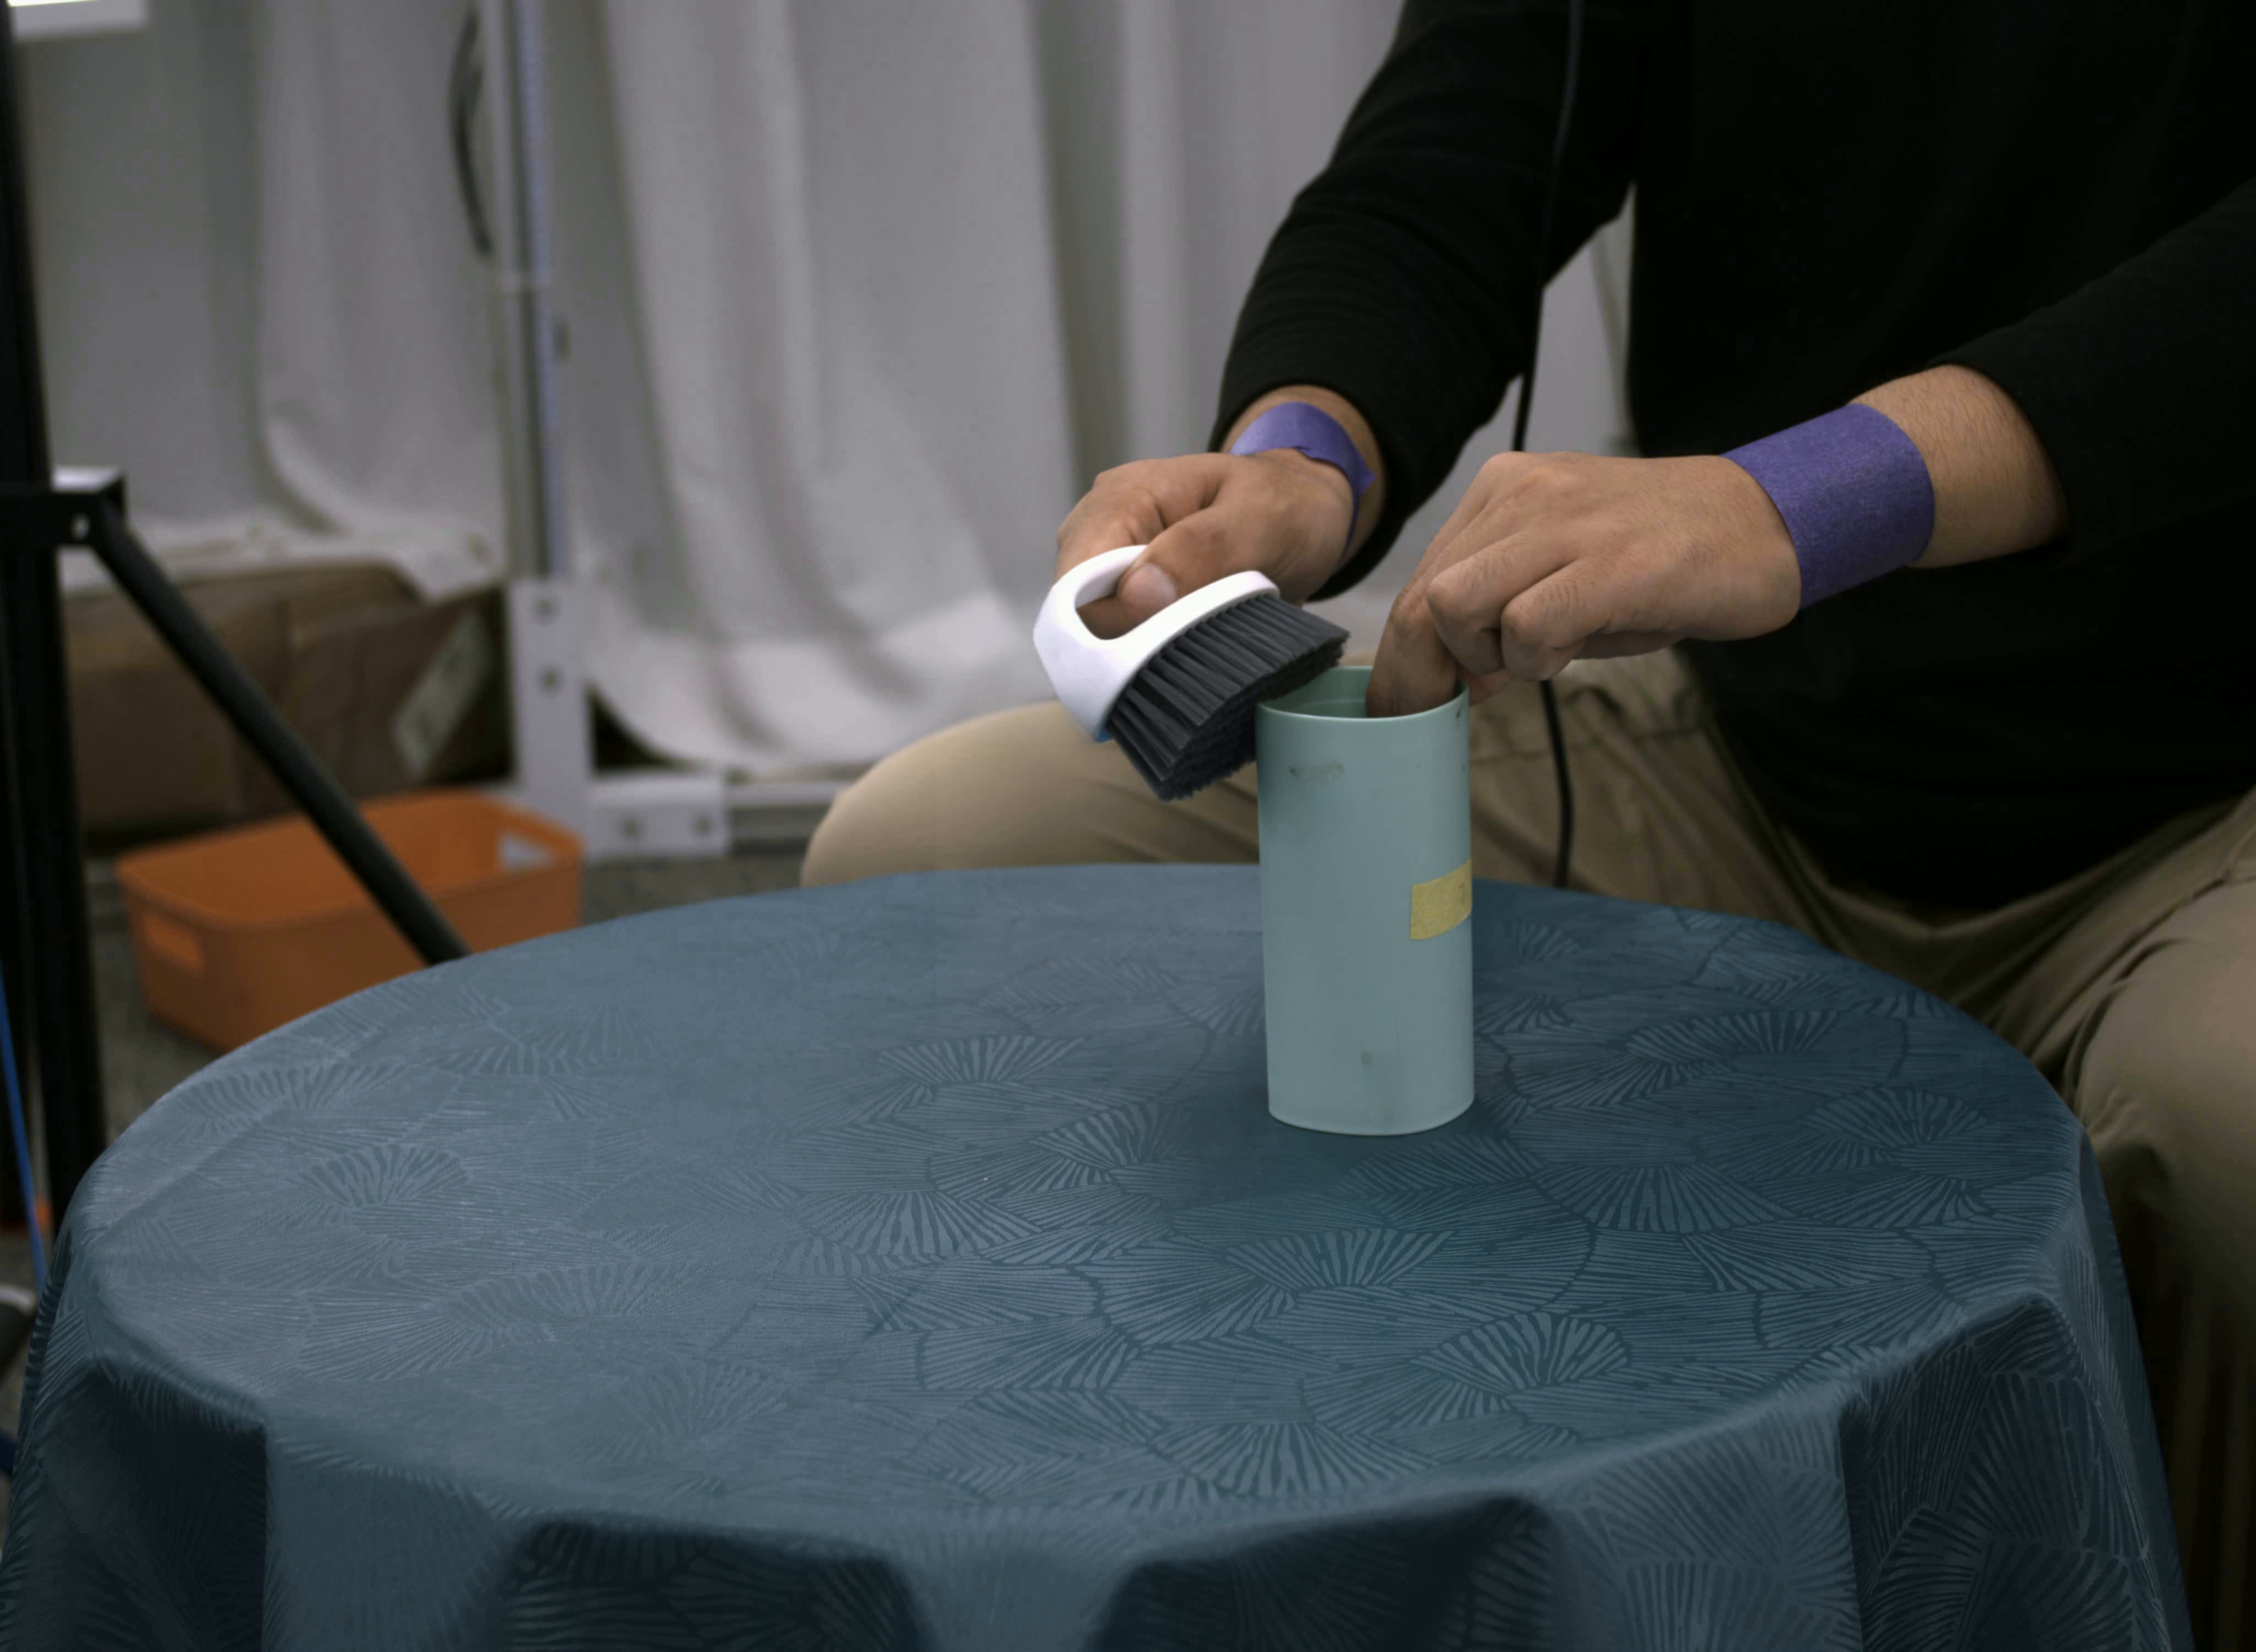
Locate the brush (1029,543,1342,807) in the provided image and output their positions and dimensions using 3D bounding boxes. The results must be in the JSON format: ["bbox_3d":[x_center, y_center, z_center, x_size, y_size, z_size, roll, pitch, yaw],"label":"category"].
[{"bbox_3d":[0.011,-0.054,1.606,0.073,0.050,0.097,40,35,15],"label":"brush"}]

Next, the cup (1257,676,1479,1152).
[{"bbox_3d":[0.073,0.026,1.611,0.066,0.132,0.067,-3,15,-1],"label":"cup"}]
